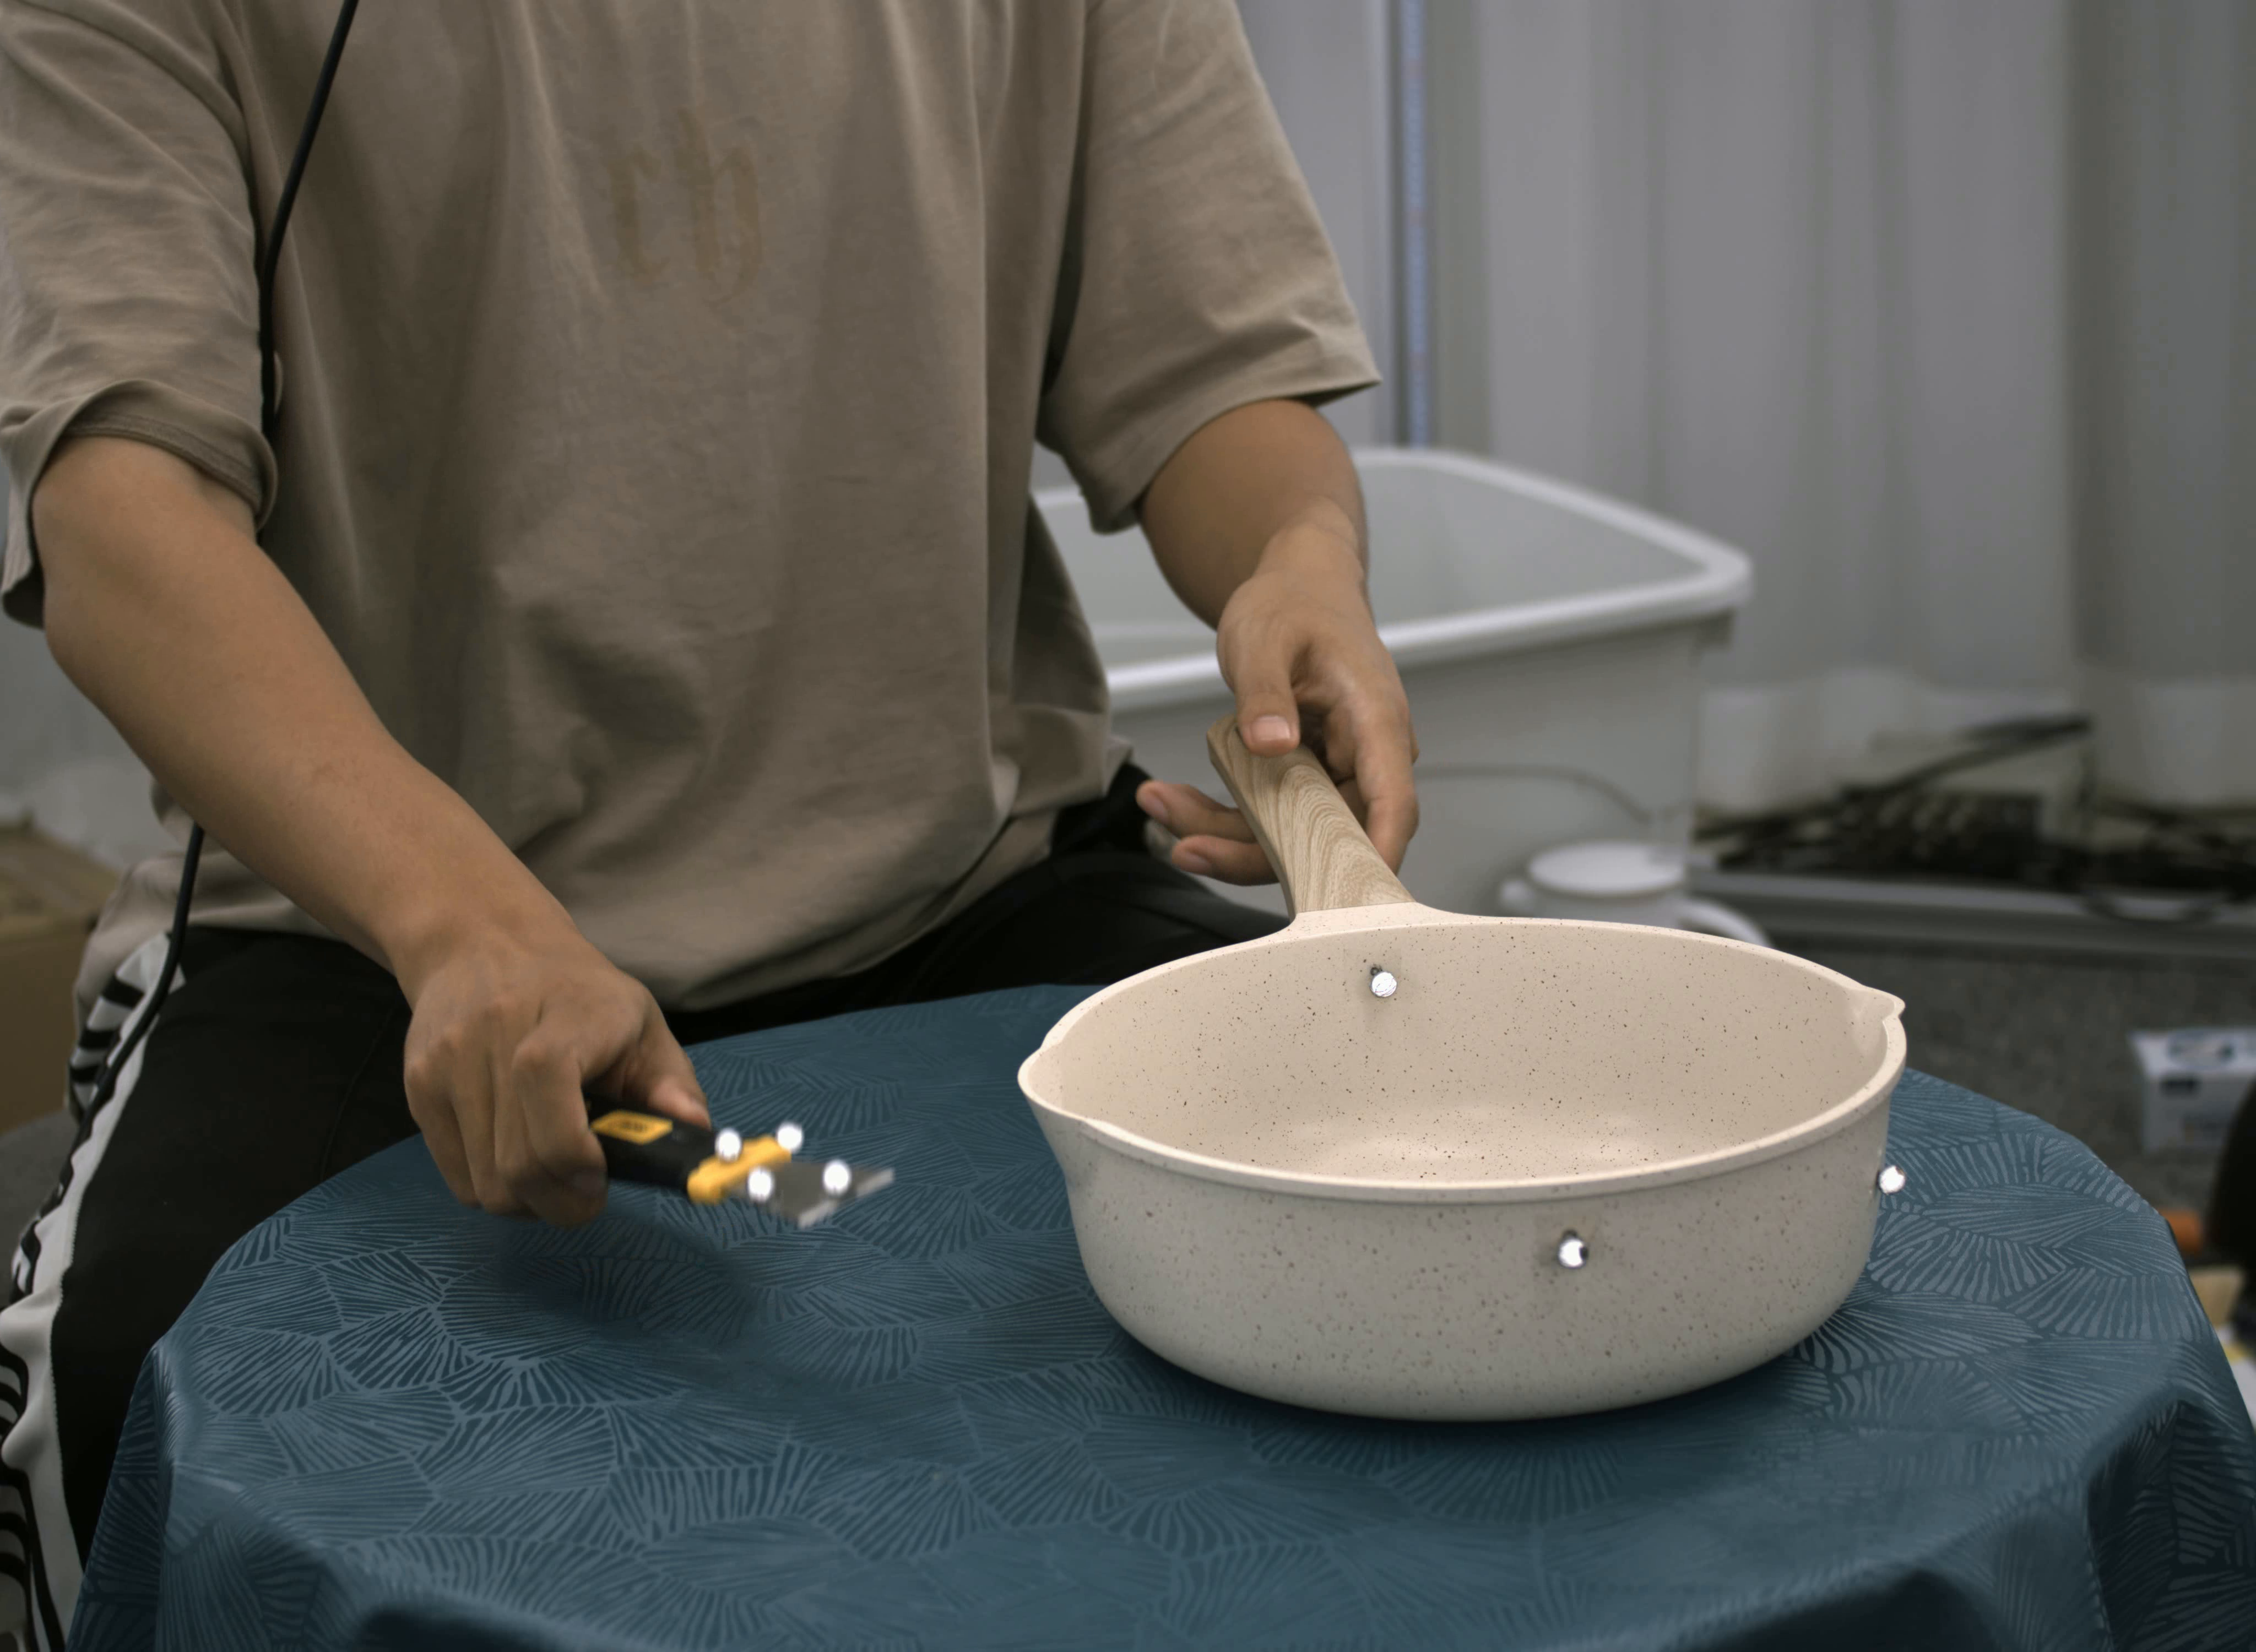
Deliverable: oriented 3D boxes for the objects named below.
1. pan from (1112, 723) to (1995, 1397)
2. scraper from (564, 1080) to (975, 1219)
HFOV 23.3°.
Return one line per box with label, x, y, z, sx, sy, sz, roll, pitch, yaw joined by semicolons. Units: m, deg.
pan;0.109;0.066;1.681;0.262;0.101;0.438;-8;15;-9
scraper;-0.109;0.094;1.588;0.039;0.015;0.172;-35;25;-32
